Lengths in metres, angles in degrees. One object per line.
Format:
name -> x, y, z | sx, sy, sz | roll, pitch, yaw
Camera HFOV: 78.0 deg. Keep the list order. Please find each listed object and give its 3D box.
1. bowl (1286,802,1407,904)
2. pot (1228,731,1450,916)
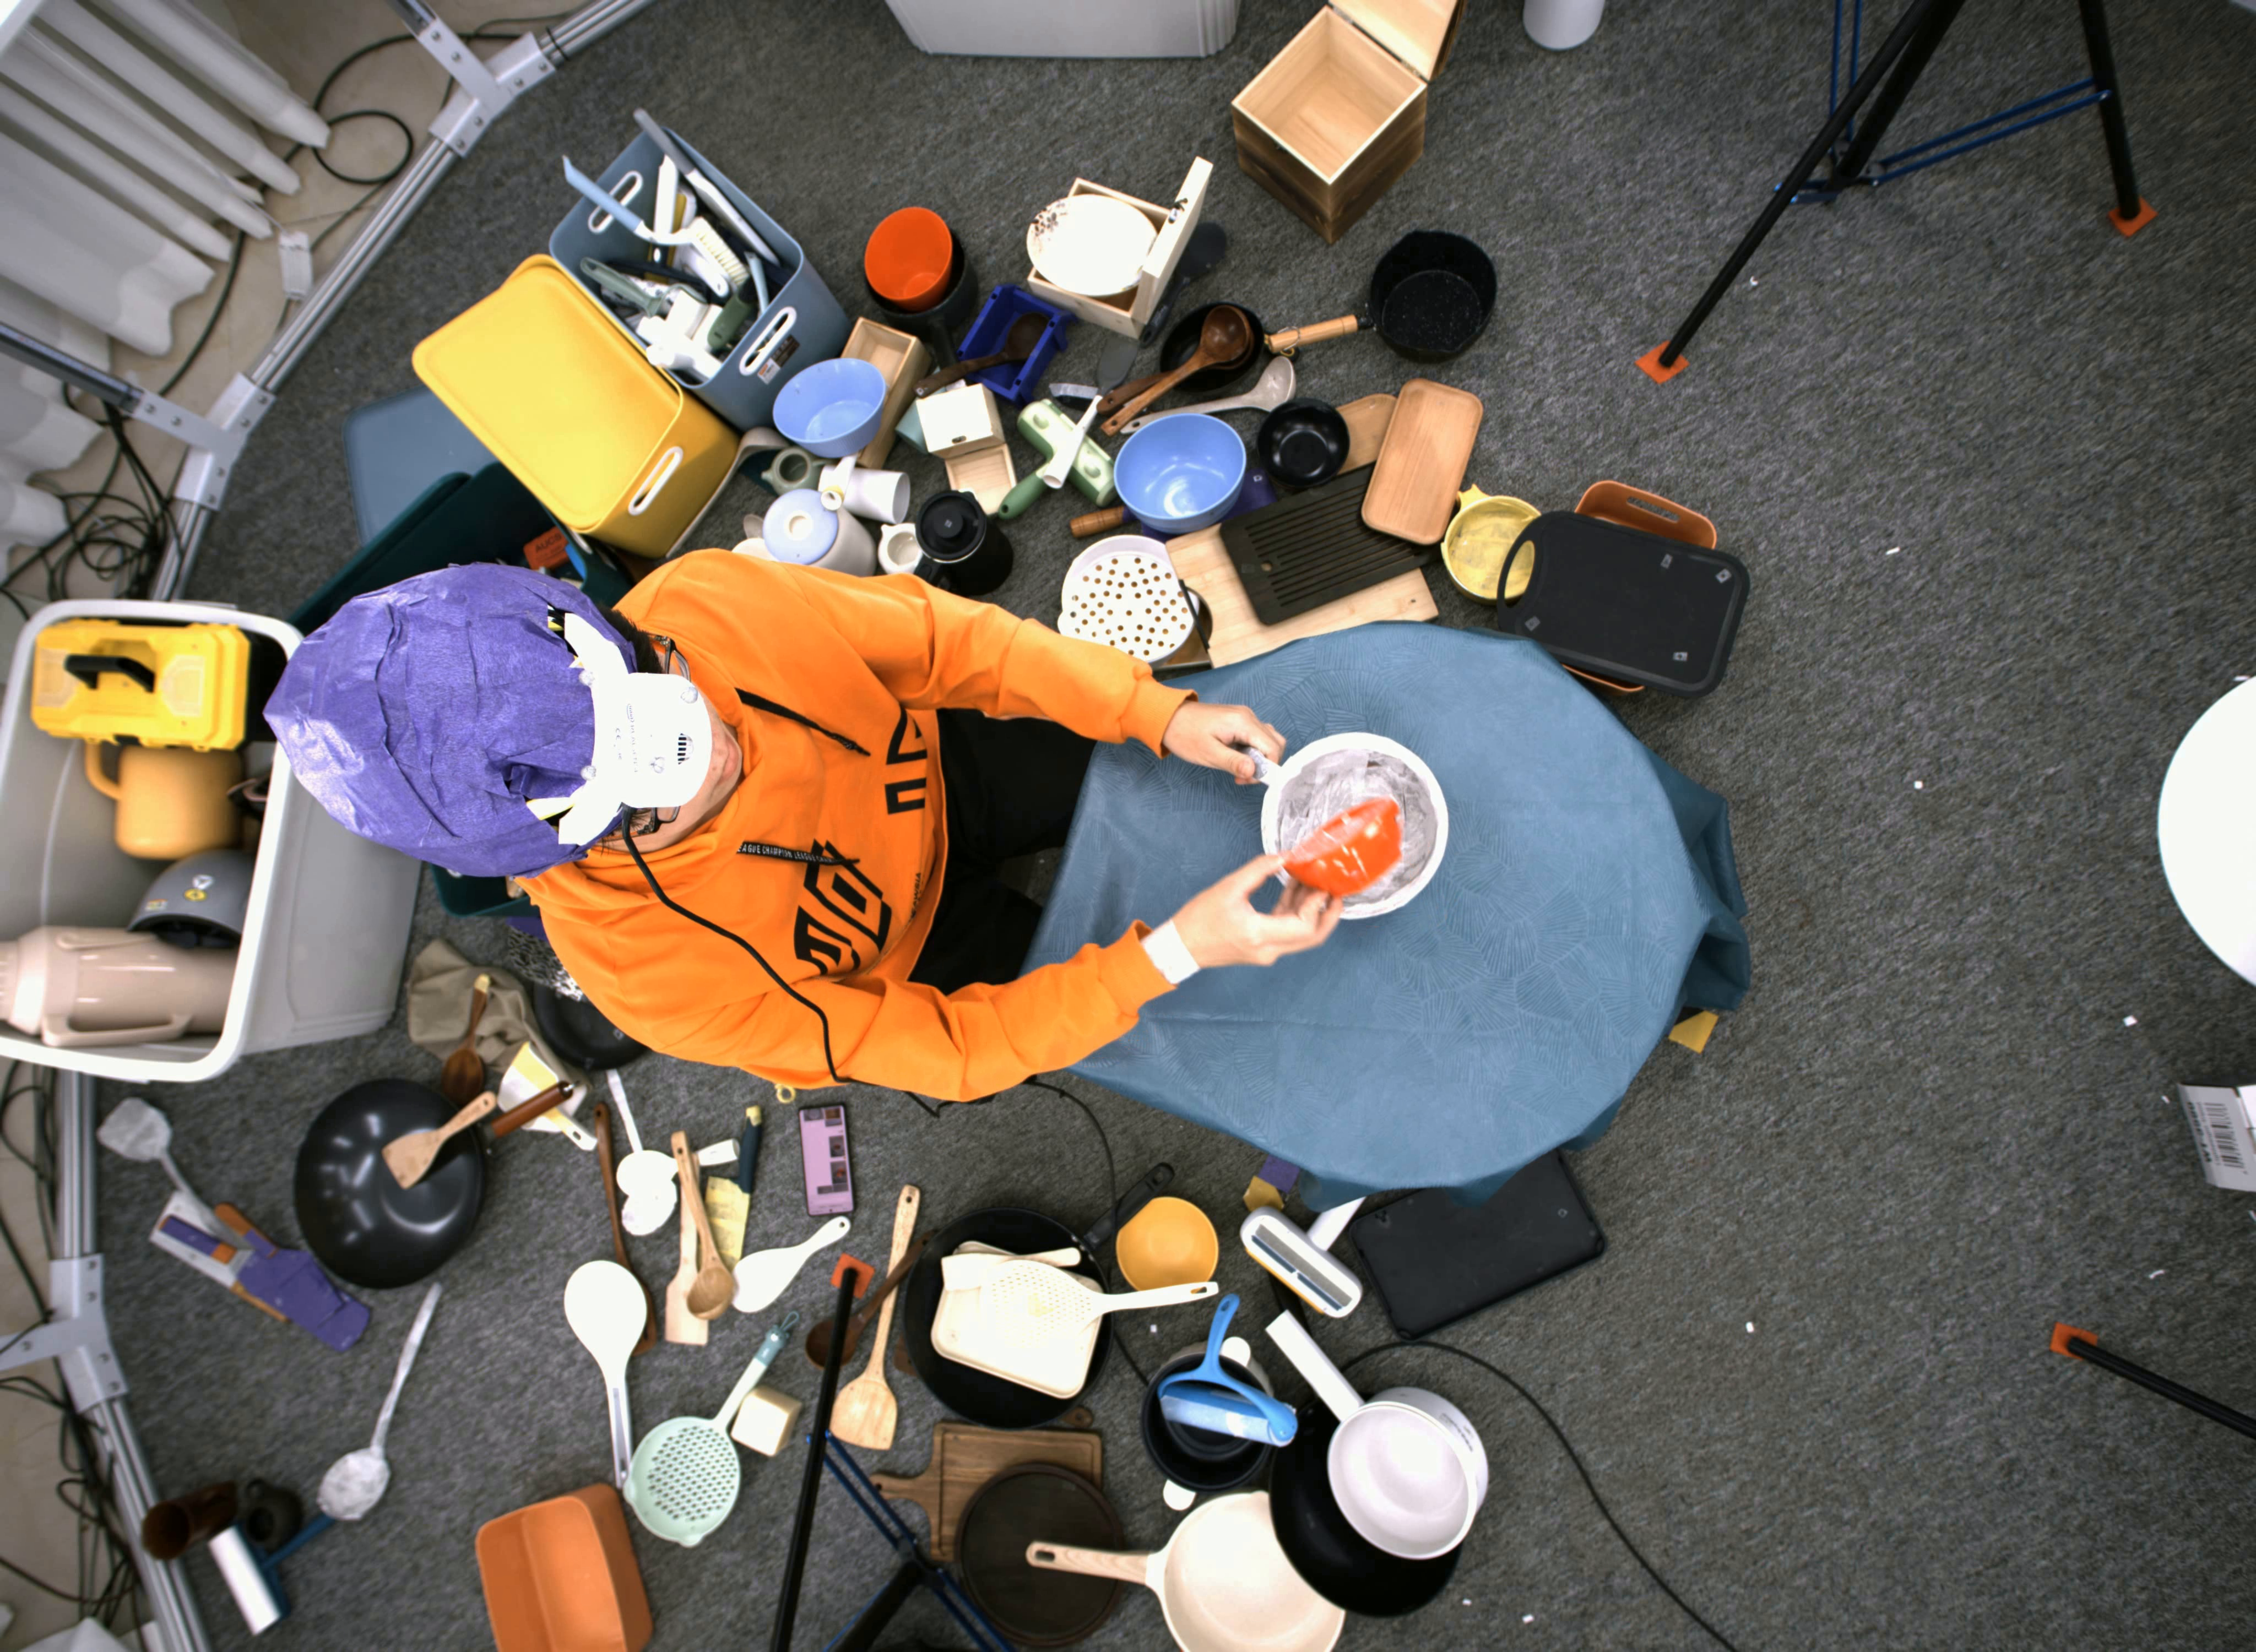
bowl -> 0.205, 0.029, 1.246 | 0.119, 0.118, 0.051 | -33, 97, 6
pot -> 0.202, -0.018, 1.375 | 0.233, 0.136, 0.180 | 30, 98, 7
